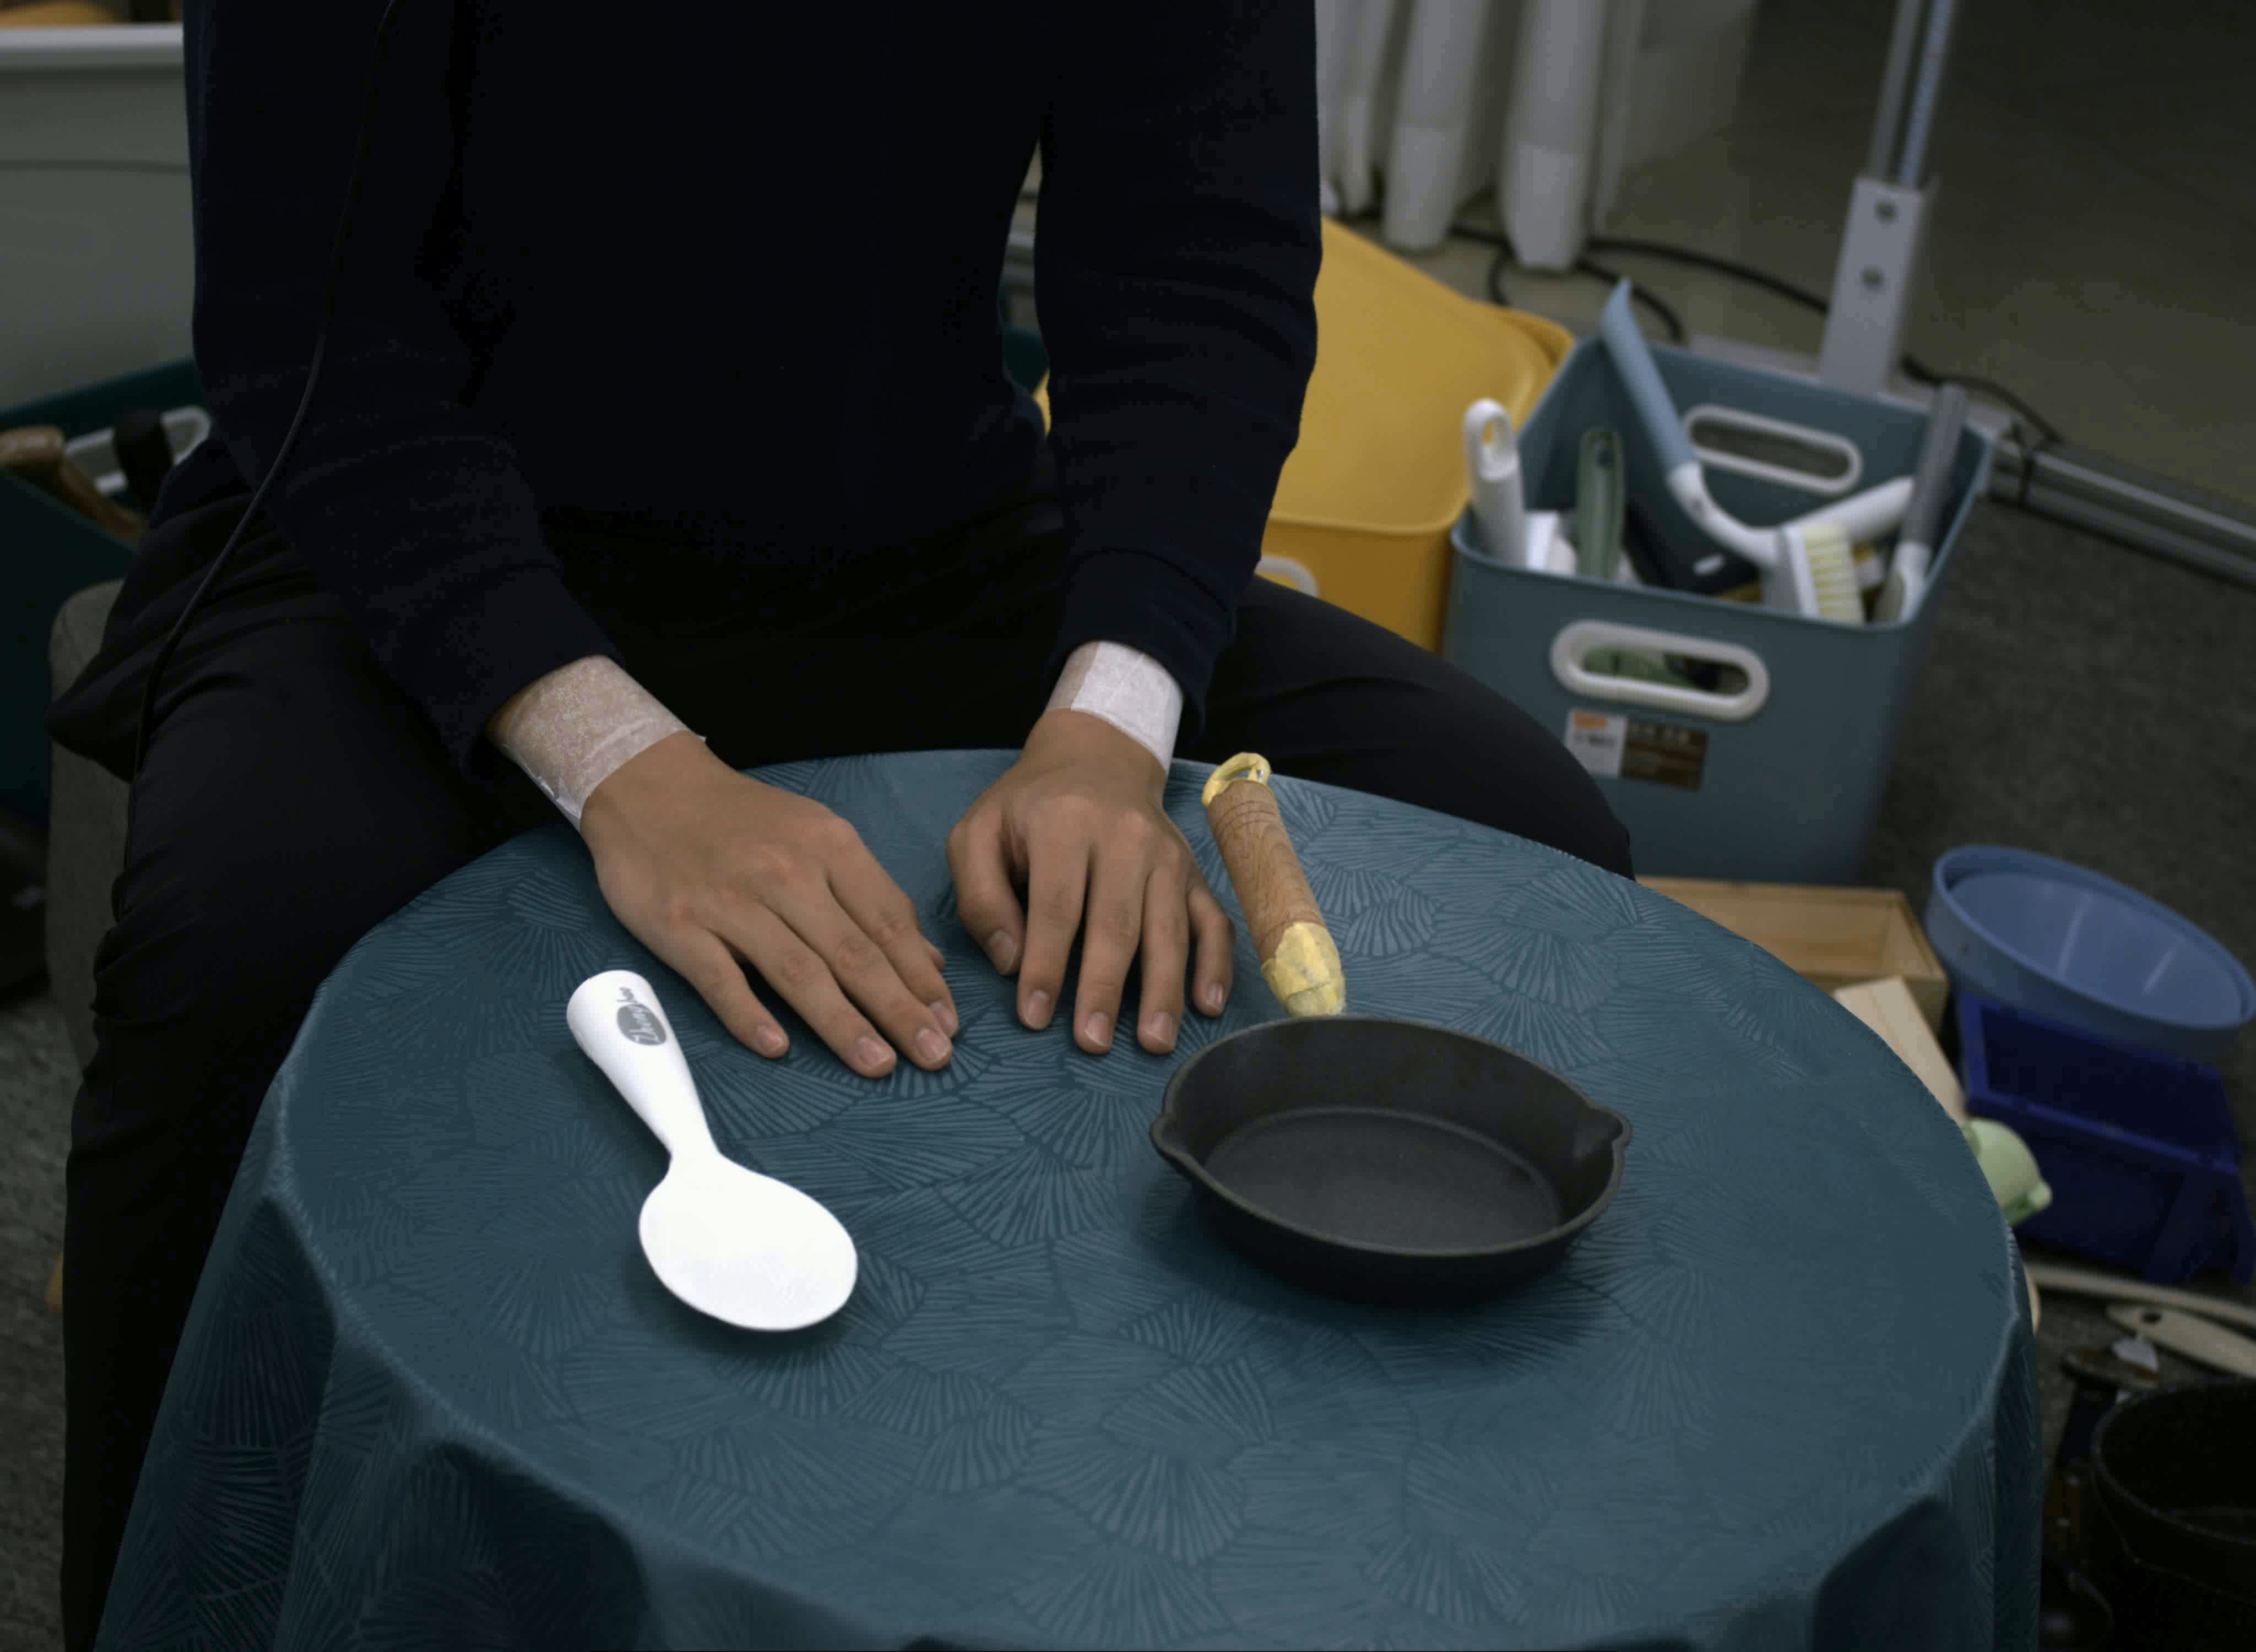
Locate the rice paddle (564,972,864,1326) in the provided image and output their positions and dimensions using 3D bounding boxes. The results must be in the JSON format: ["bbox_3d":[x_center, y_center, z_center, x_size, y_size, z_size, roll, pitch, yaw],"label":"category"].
[{"bbox_3d":[-0.143,0.109,1.768,0.068,0.029,0.207,-7,29,-21],"label":"rice paddle"}]

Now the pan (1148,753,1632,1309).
[{"bbox_3d":[0.072,0.069,1.870,0.168,0.049,0.327,0,29,-12],"label":"pan"}]
